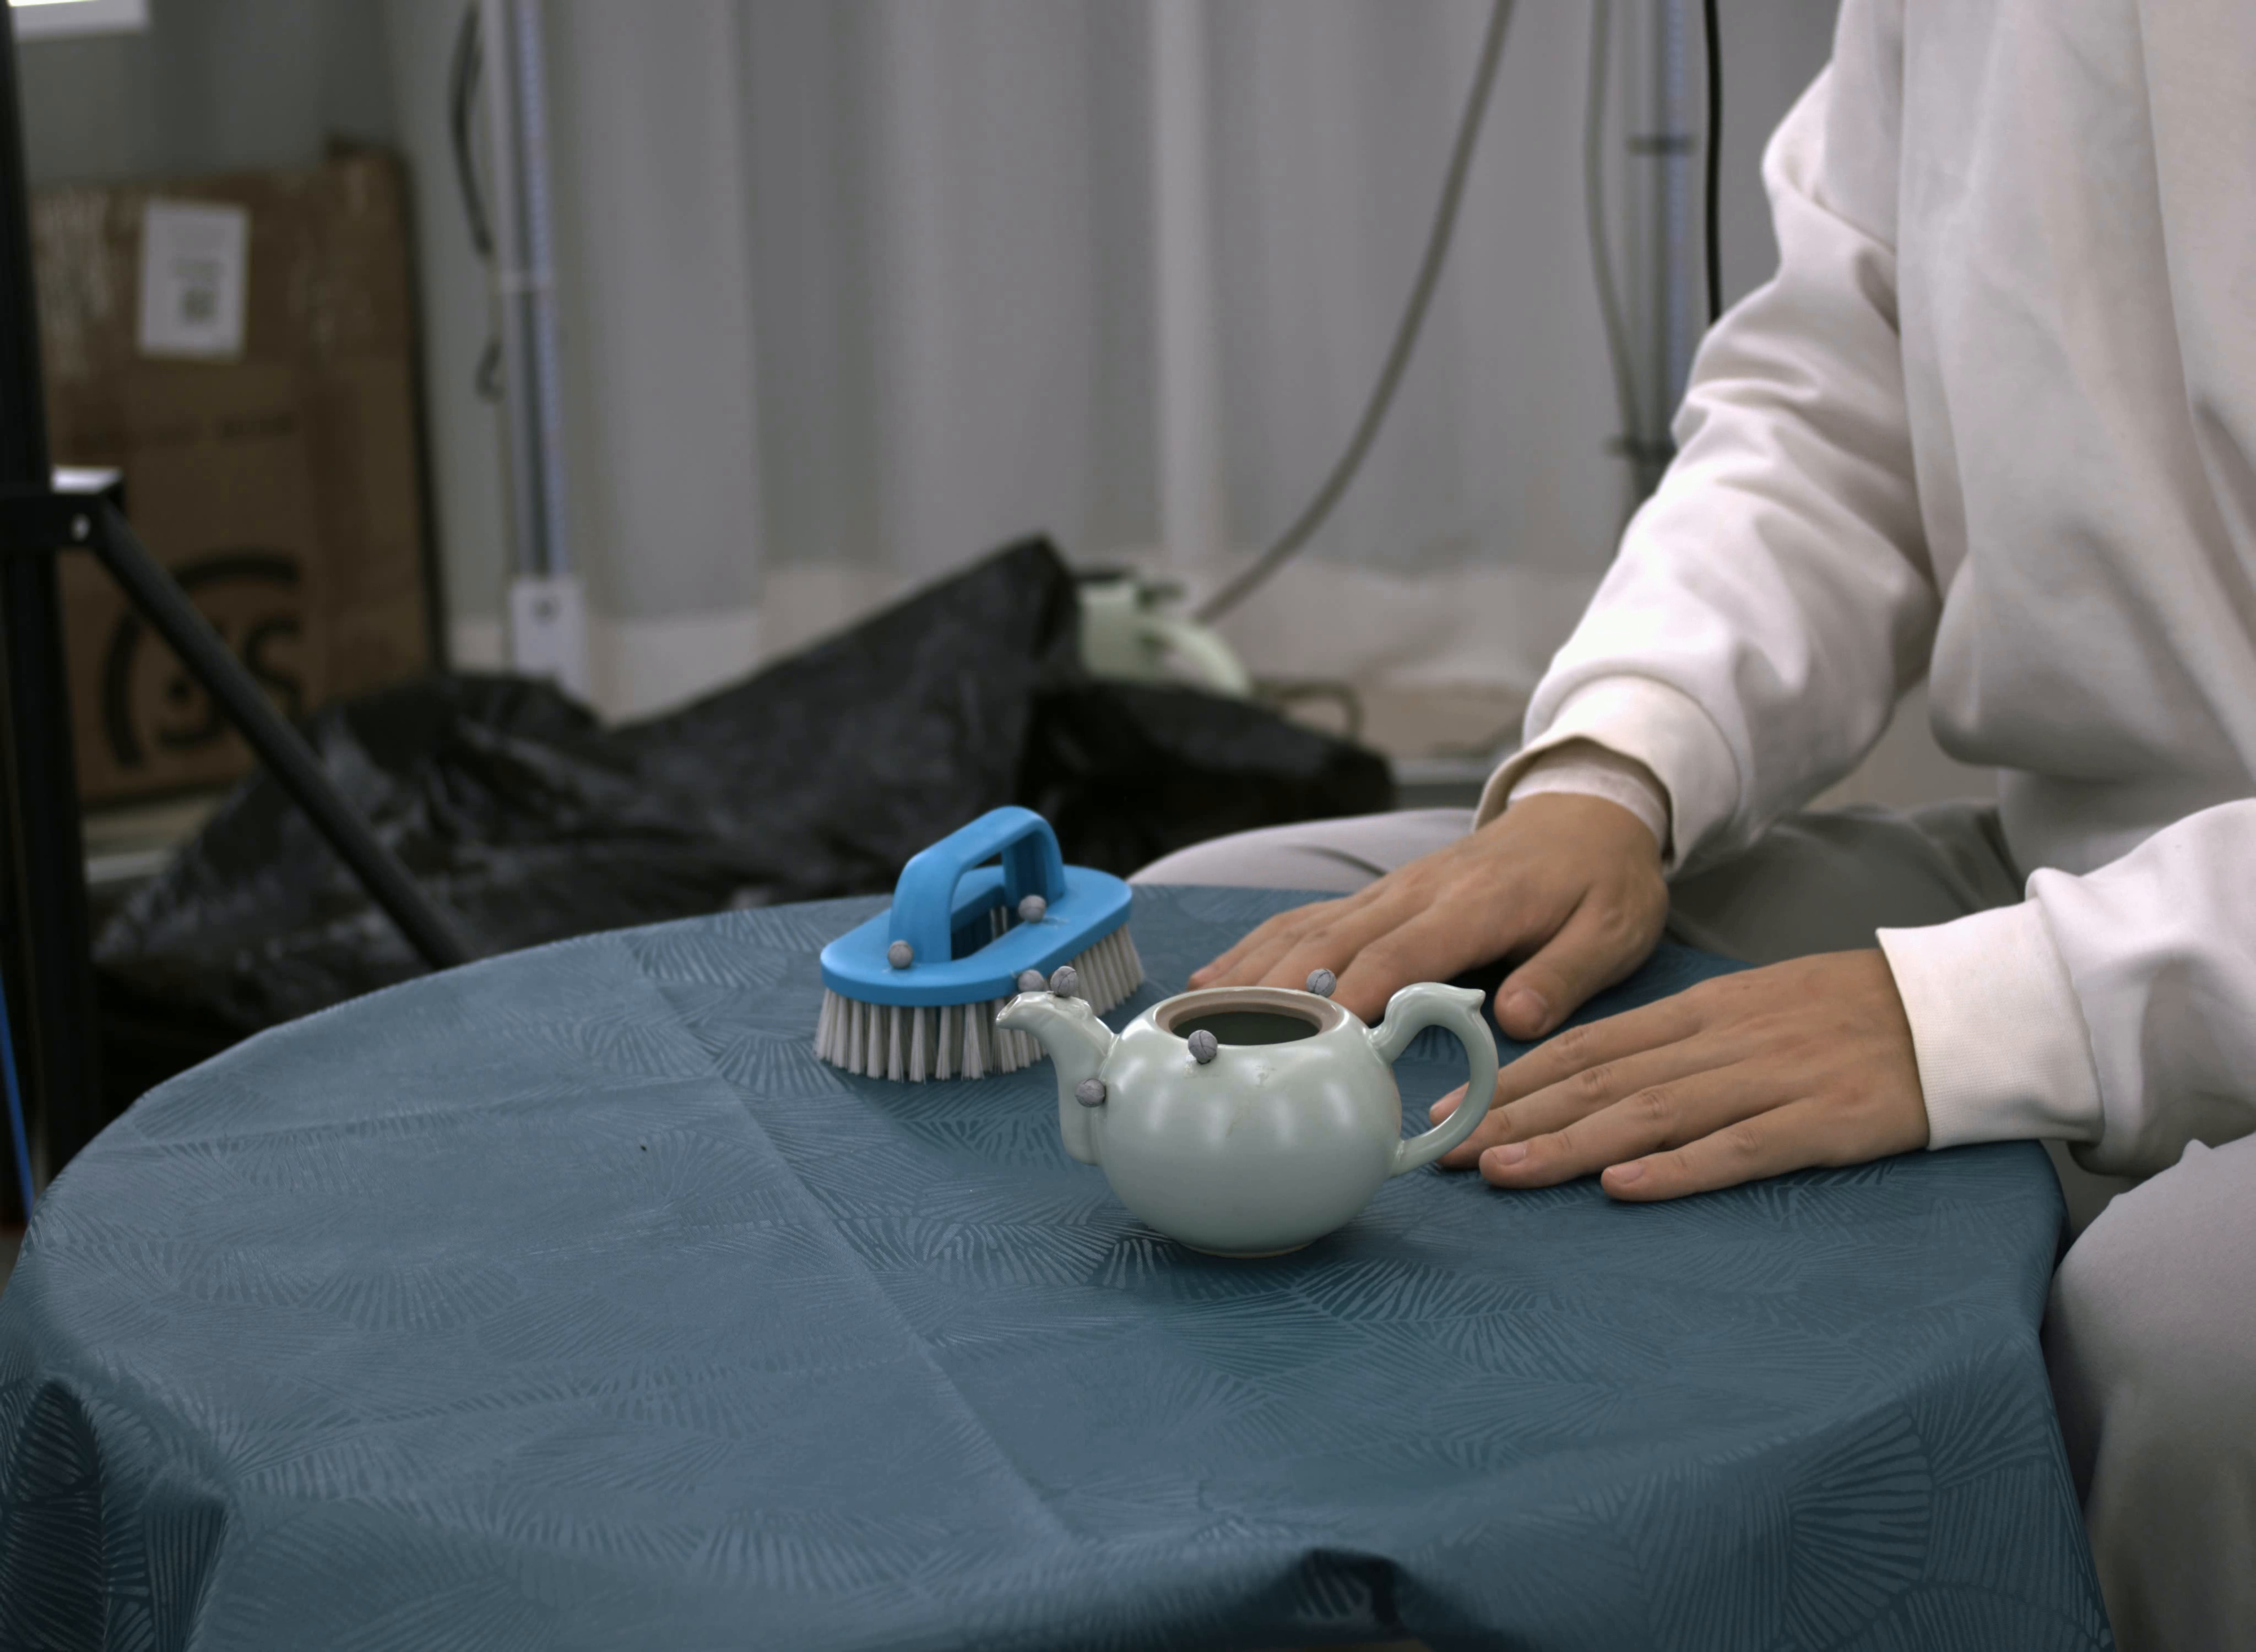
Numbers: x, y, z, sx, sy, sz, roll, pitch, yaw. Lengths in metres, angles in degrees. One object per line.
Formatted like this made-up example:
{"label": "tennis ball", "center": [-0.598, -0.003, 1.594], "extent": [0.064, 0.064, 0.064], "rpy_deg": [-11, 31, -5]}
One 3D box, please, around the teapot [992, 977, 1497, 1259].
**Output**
{"label": "teapot", "center": [0.035, 0.082, 1.513], "extent": [0.144, 0.075, 0.088], "rpy_deg": [-2, 14, 10]}

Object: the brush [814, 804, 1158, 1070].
{"label": "brush", "center": [-0.048, 0.031, 1.721], "extent": [0.086, 0.064, 0.139], "rpy_deg": [1, 14, 28]}
